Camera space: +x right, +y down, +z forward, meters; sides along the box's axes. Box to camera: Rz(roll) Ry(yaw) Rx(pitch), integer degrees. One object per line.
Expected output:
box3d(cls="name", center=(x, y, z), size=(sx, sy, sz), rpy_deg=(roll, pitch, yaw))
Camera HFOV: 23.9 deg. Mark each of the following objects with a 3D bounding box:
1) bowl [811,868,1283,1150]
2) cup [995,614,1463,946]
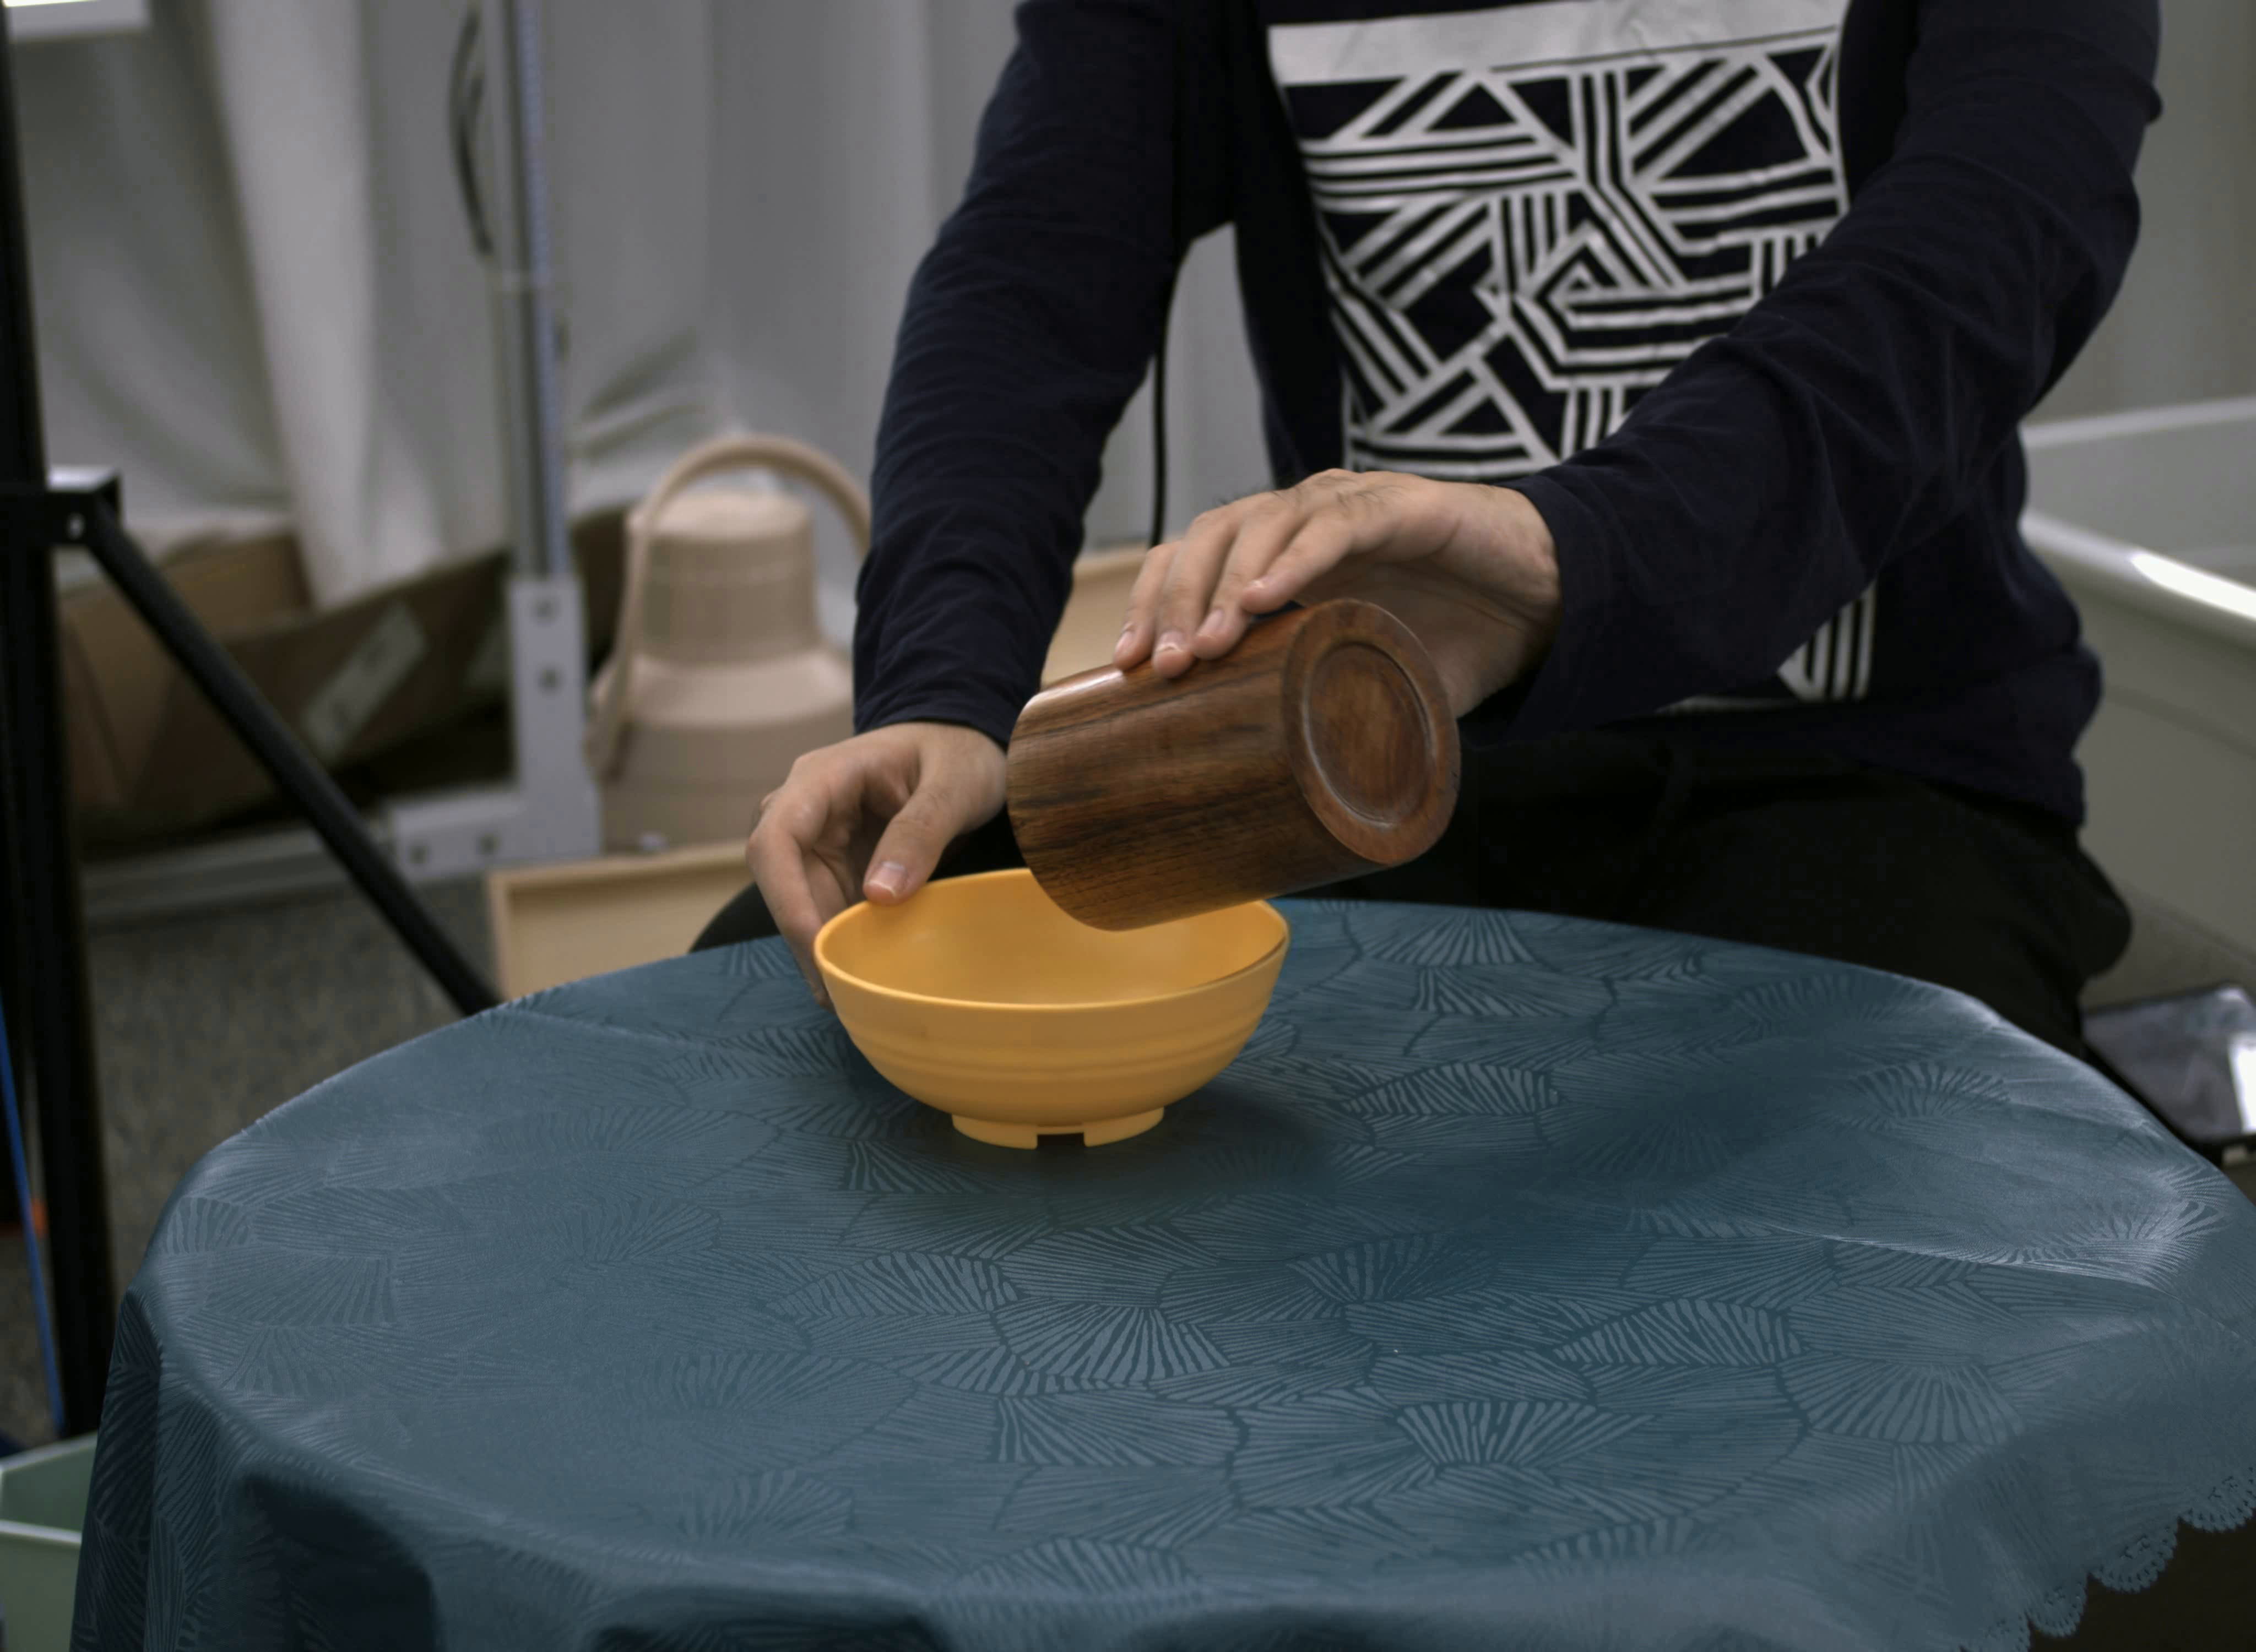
box3d(cls="bowl", center=(-0.024, 0.061, 1.625), size=(0.144, 0.060, 0.146), rpy_deg=(-1, 15, -1))
box3d(cls="cup", center=(0.030, -0.013, 1.567), size=(0.121, 0.088, 0.086), rpy_deg=(-10, 6, 43))
